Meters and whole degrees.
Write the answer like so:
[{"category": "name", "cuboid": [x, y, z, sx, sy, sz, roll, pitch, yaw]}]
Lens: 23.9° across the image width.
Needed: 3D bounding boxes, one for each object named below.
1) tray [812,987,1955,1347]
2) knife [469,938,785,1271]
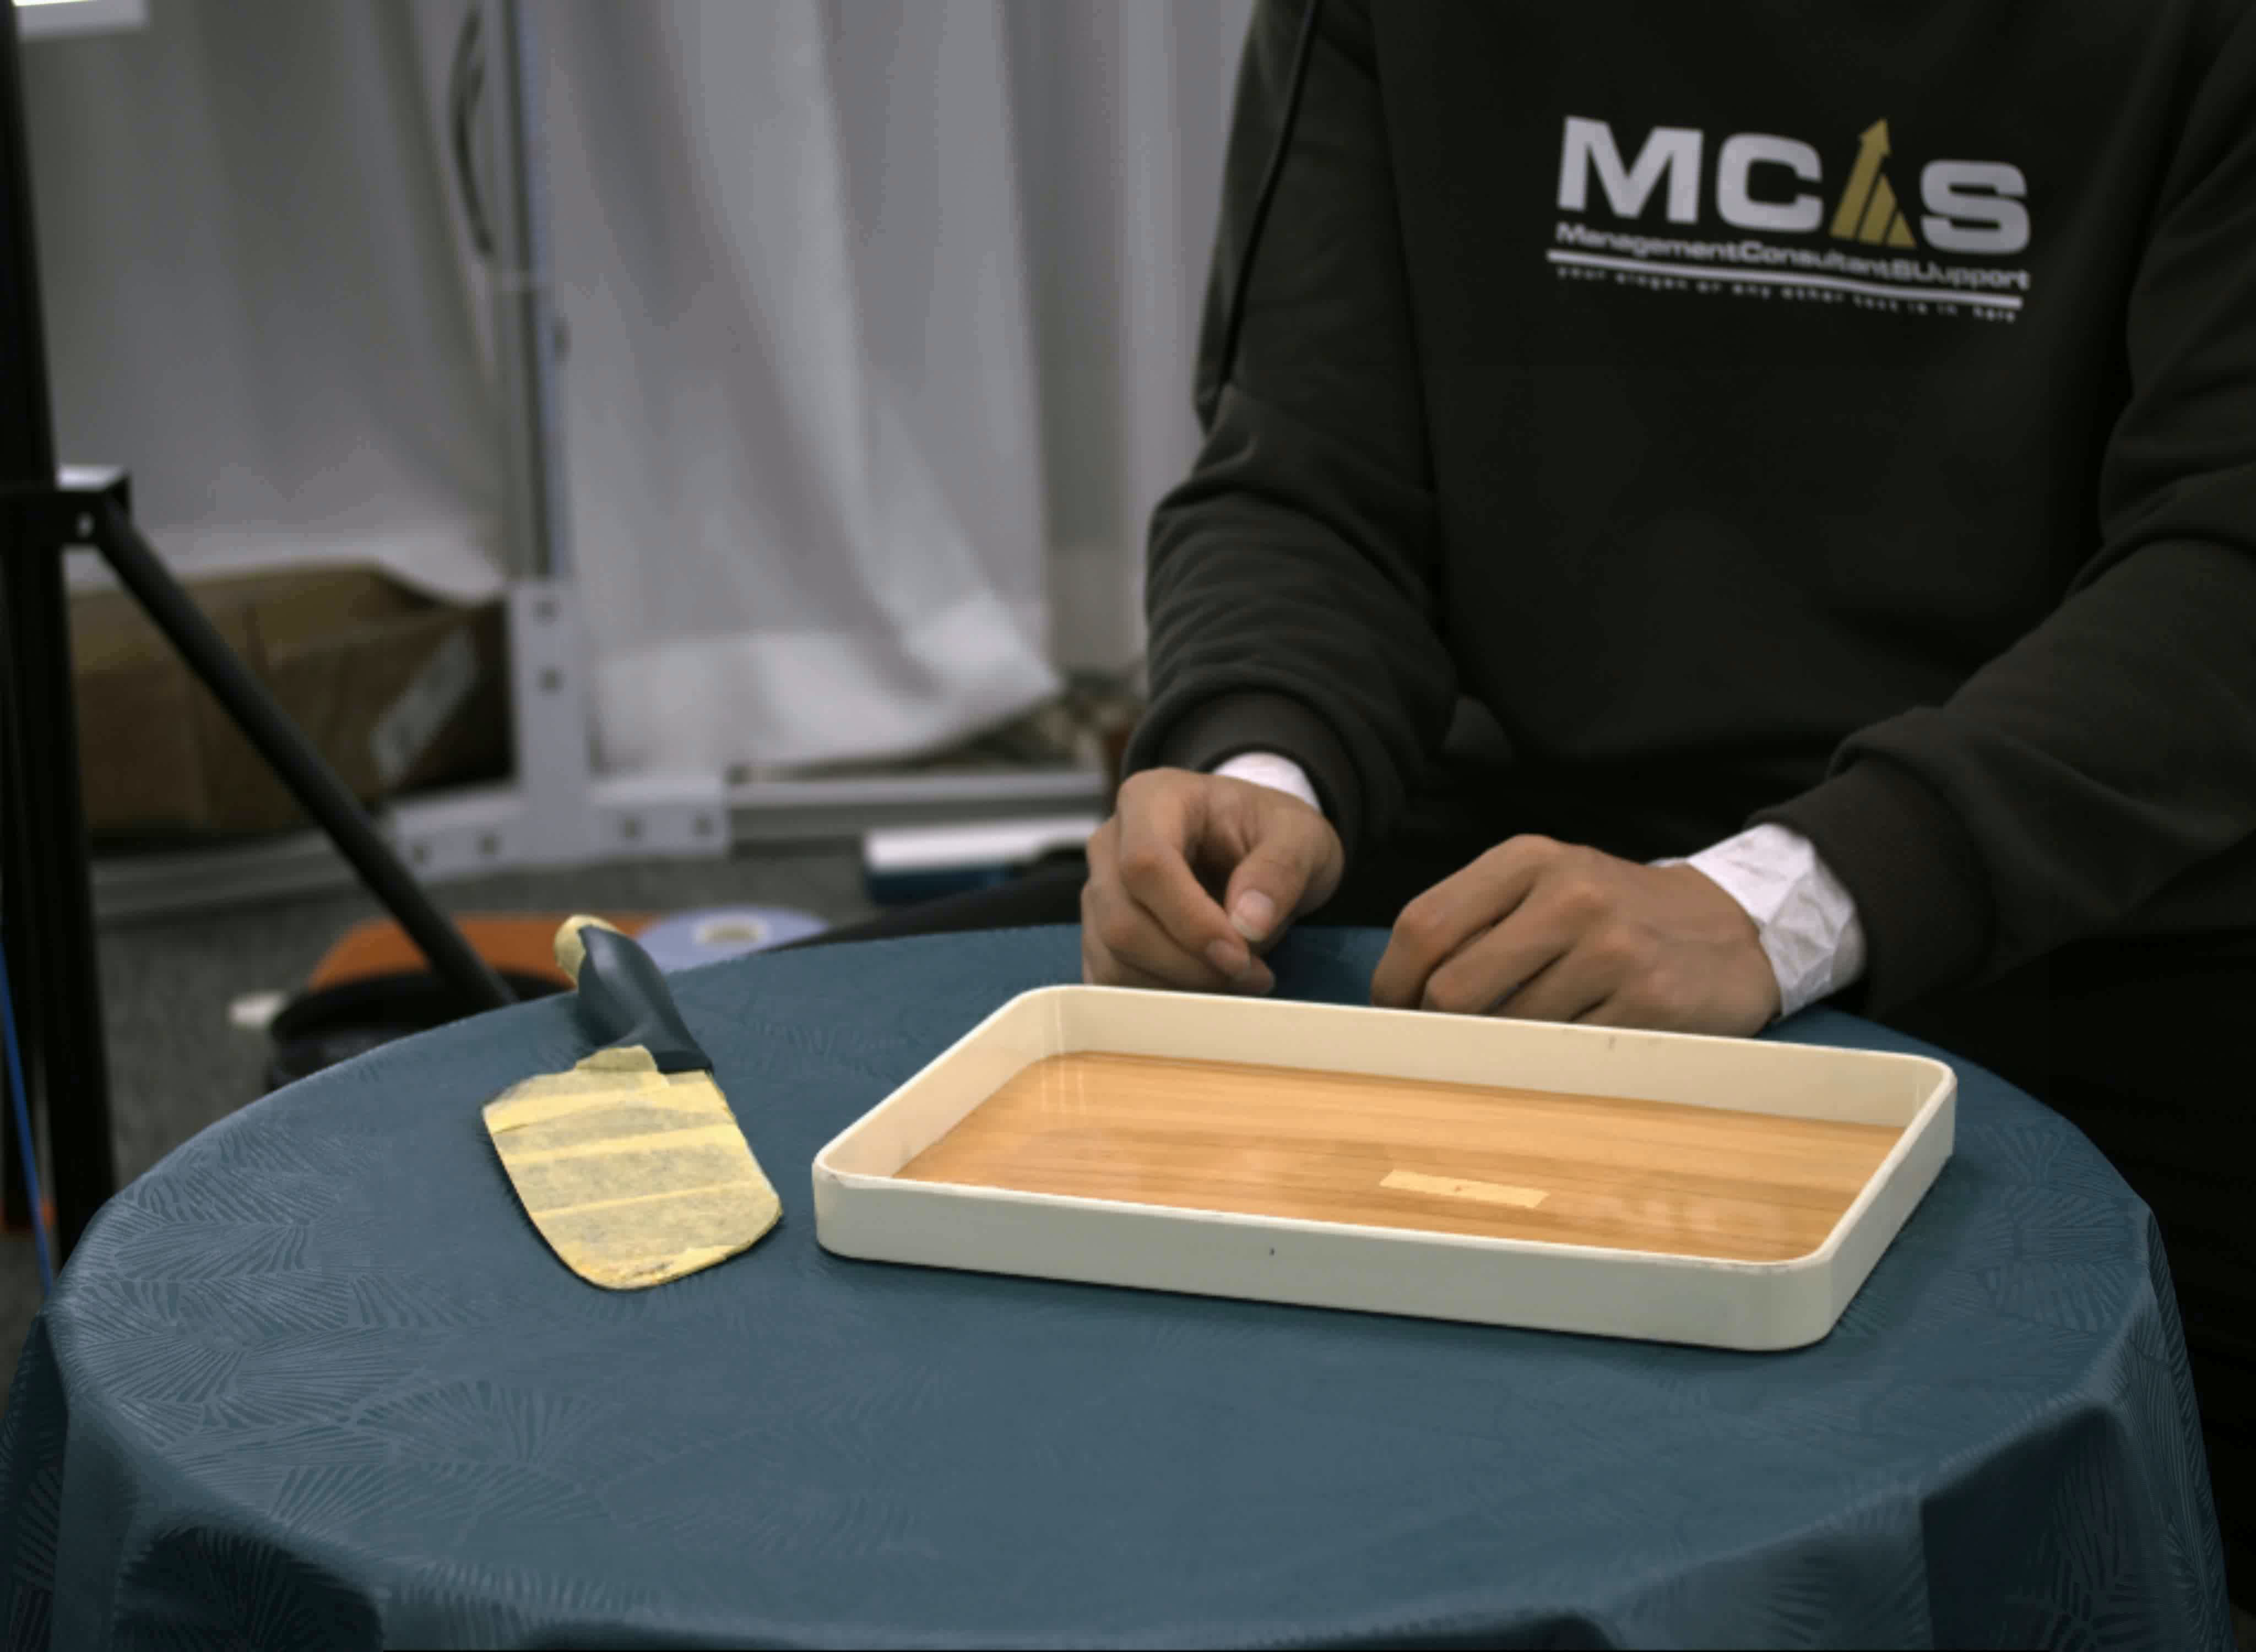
[{"category": "tray", "cuboid": [0.077, 0.096, 1.543, 0.304, 0.027, 0.189, 5, 16, 22]}, {"category": "knife", "cuboid": [-0.161, 0.086, 1.639, 0.080, 0.027, 0.293, -4, 17, -12]}]
